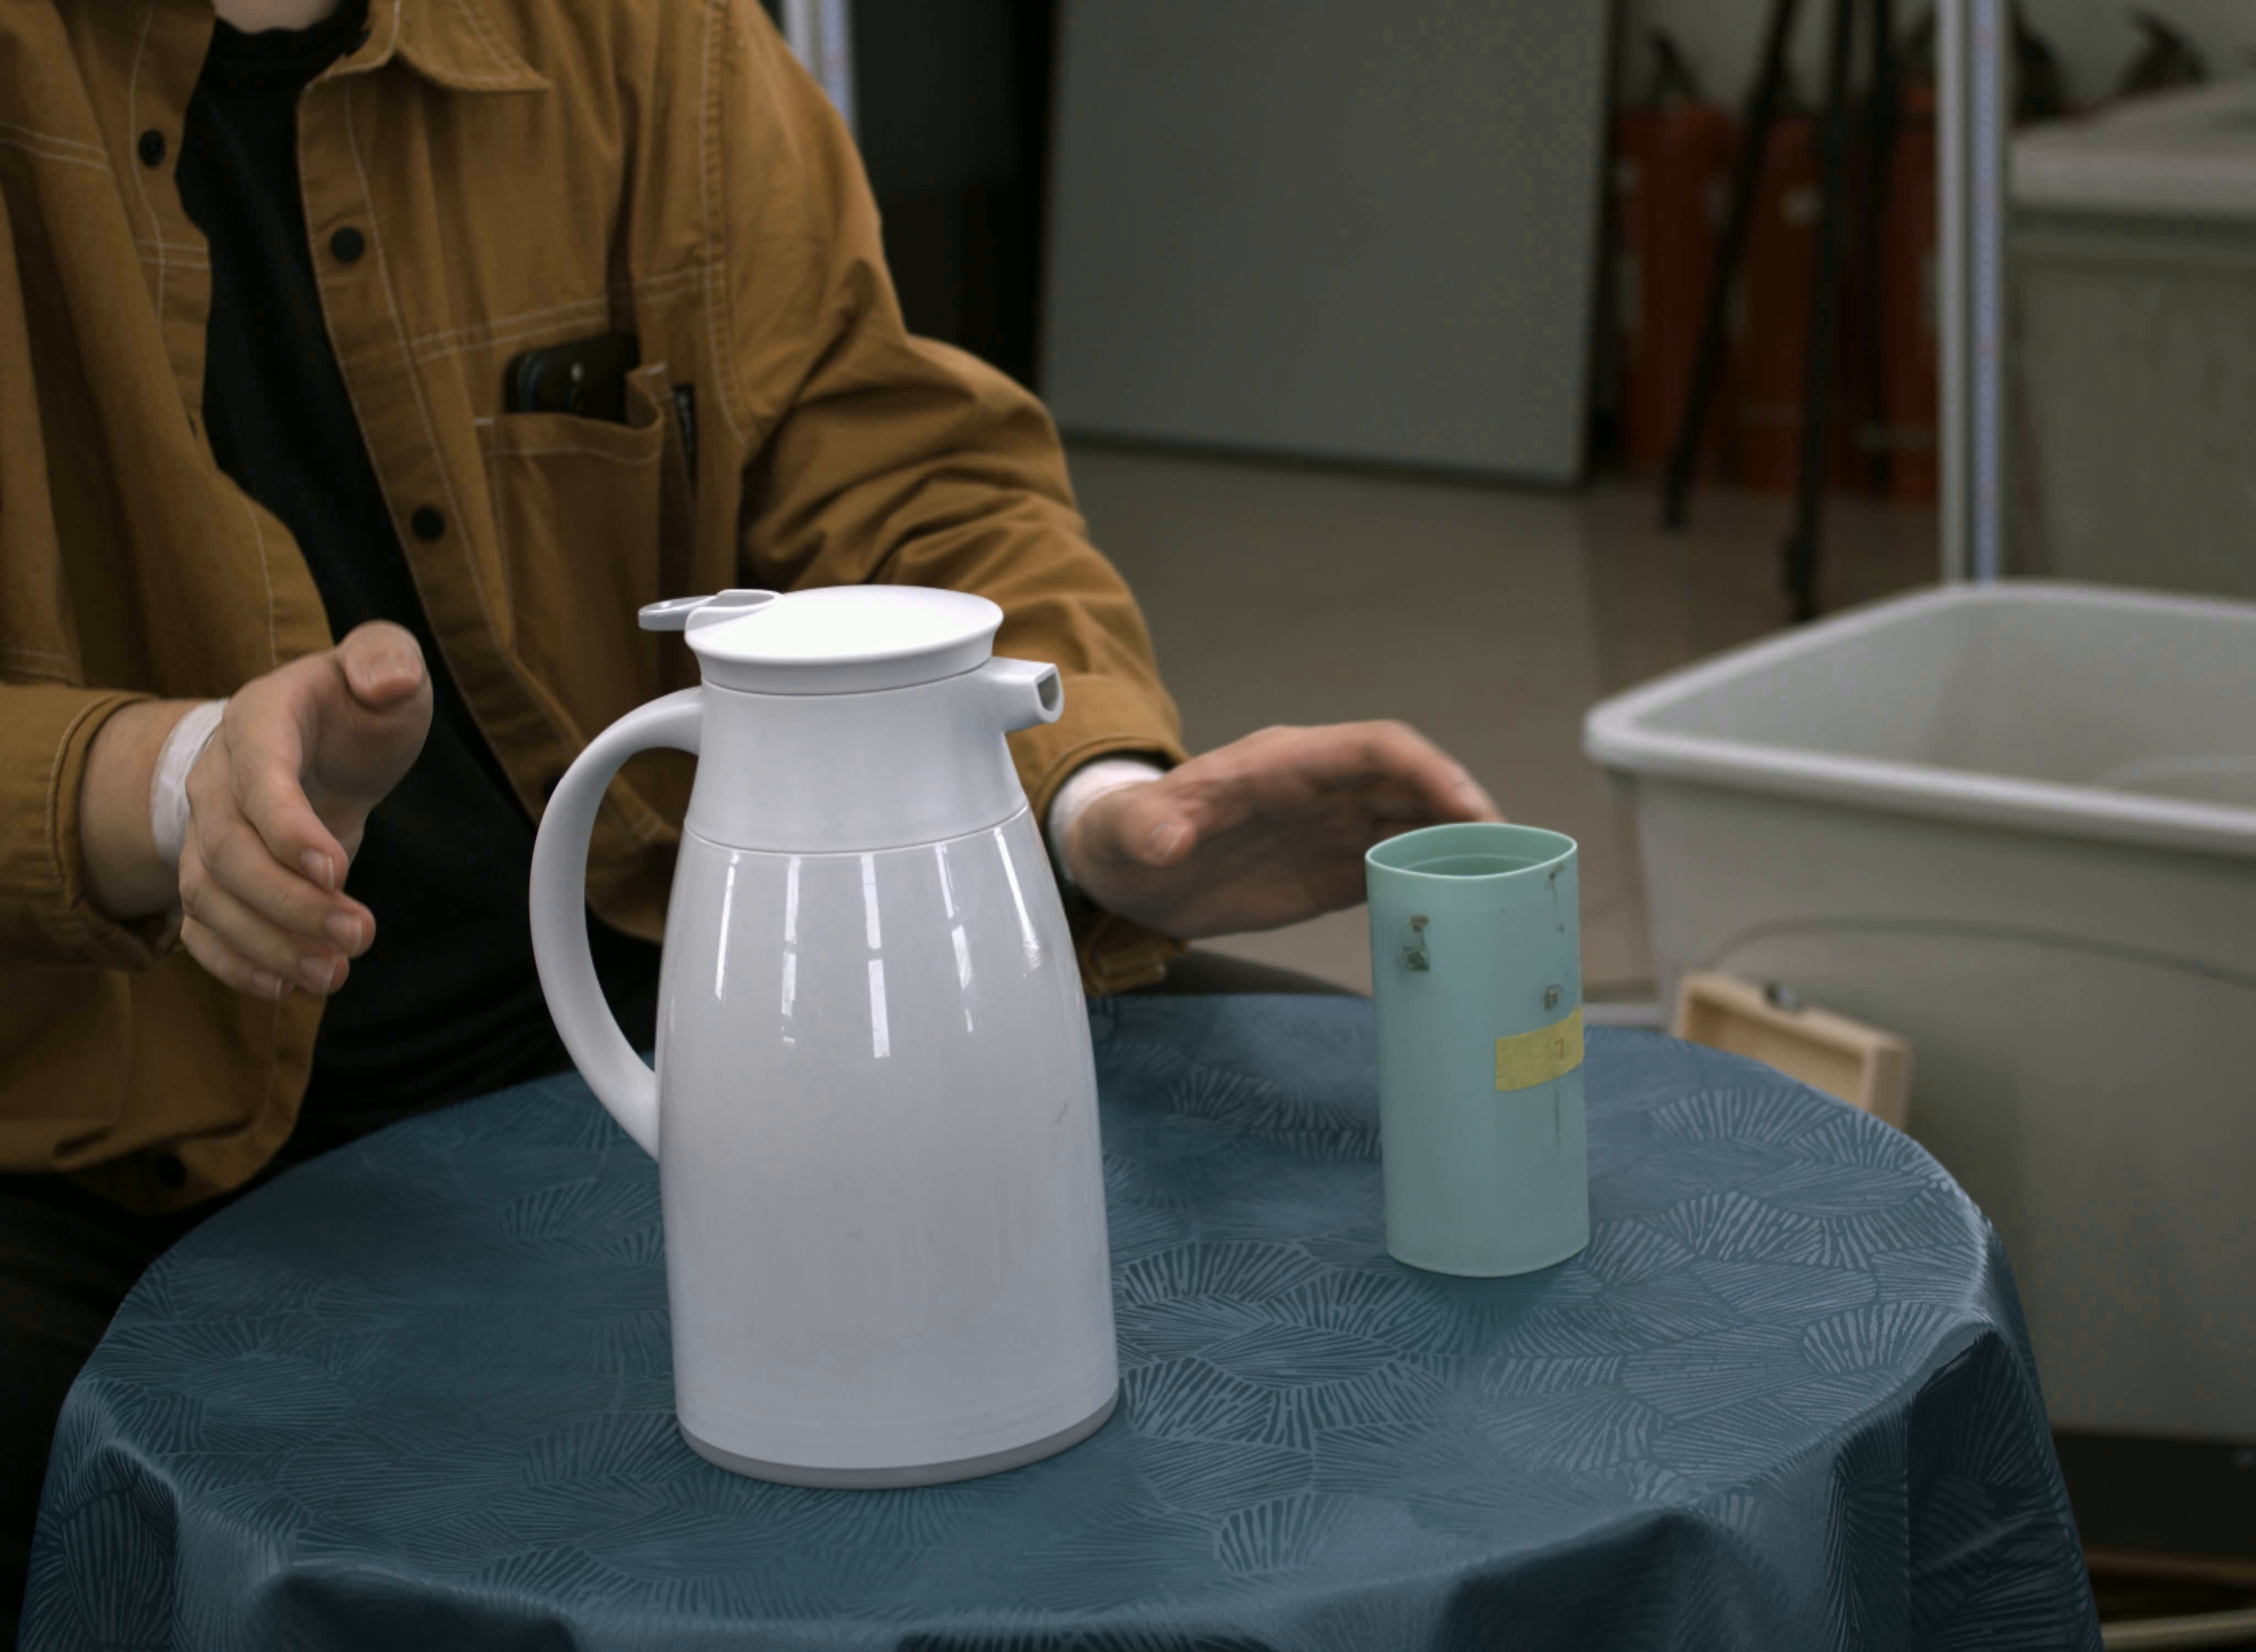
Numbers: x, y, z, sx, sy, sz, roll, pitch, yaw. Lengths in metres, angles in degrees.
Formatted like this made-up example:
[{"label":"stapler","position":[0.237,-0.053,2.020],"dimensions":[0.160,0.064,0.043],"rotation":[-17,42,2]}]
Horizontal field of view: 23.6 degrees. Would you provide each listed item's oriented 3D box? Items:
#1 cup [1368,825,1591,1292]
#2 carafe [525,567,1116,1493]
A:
[{"label":"cup","position":[0.110,0.071,1.681],"dimensions":[0.066,0.134,0.067],"rotation":[-4,13,0]},{"label":"carafe","position":[-0.094,0.052,1.564],"dimensions":[0.167,0.251,0.131],"rotation":[0,14,20]}]
